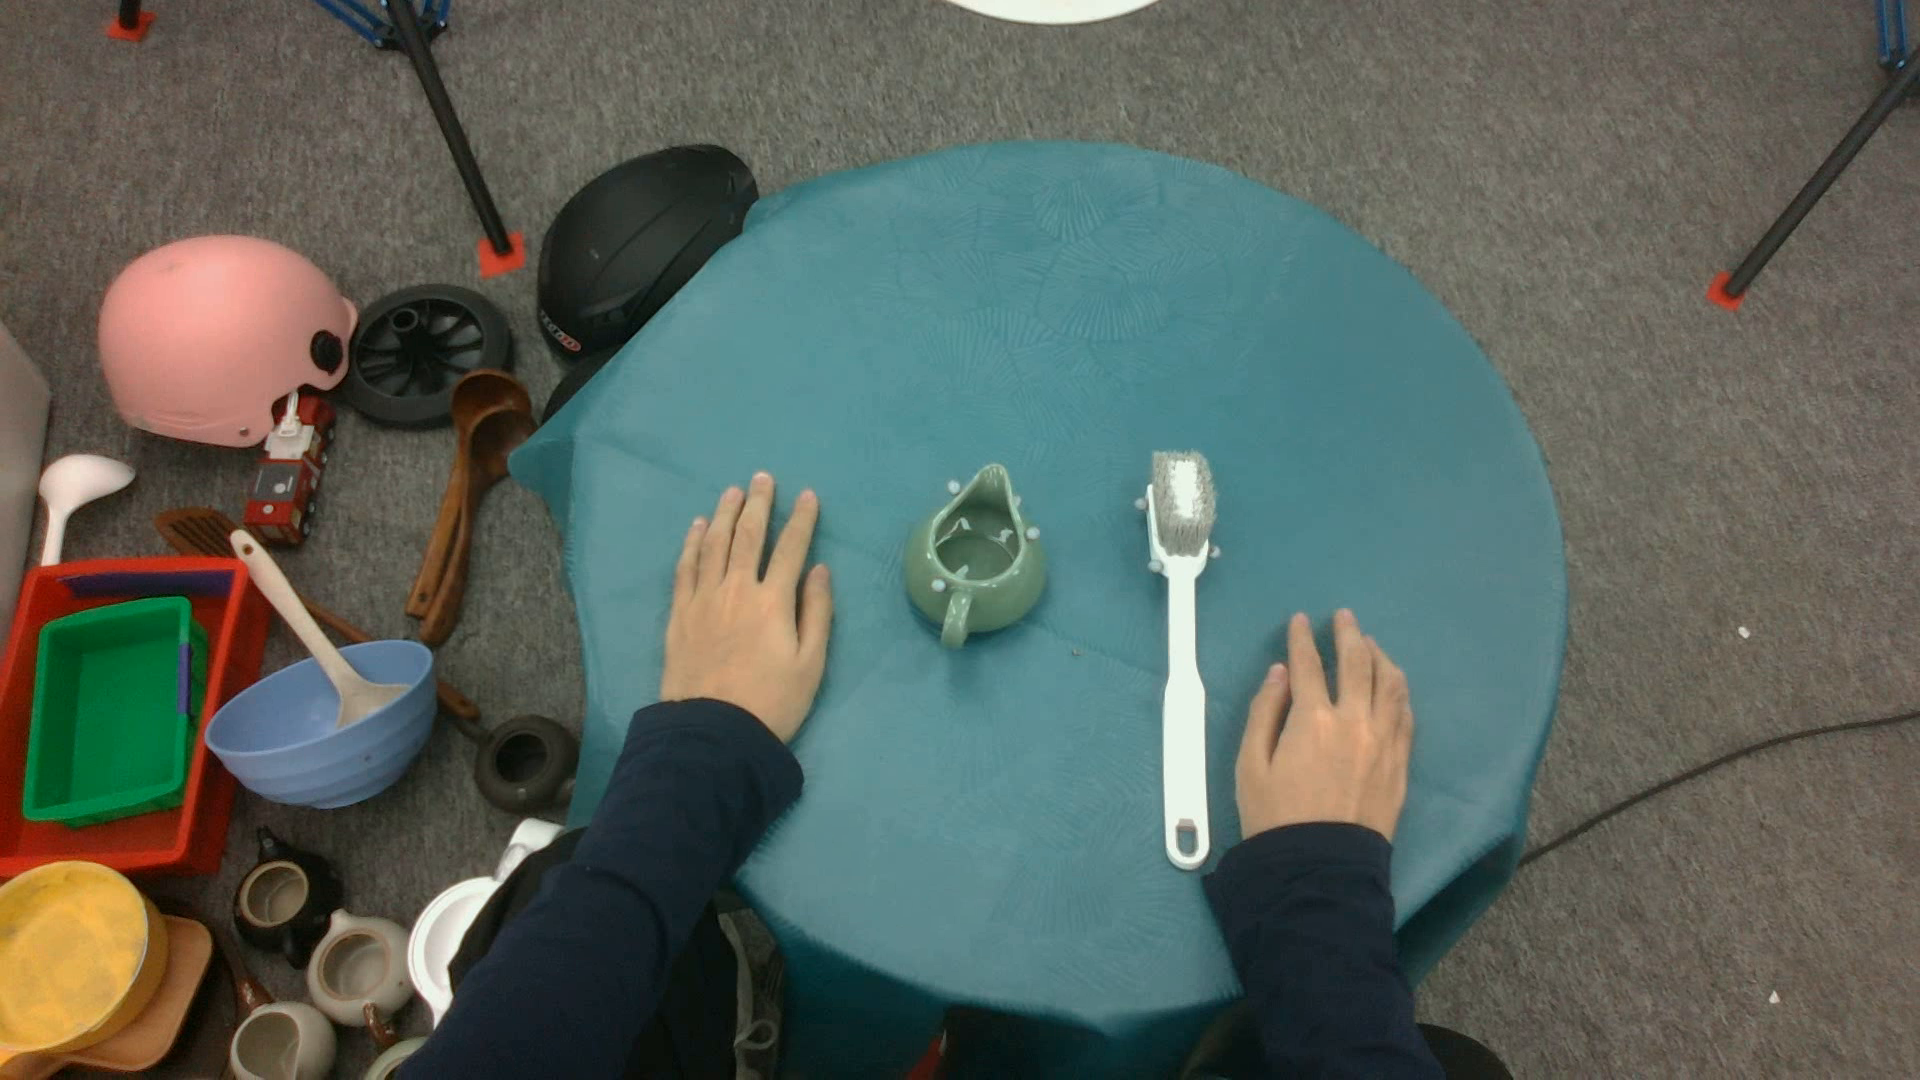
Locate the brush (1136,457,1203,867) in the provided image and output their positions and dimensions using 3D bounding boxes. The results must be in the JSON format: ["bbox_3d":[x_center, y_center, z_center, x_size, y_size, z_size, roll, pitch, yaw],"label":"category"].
[{"bbox_3d":[0.119,0.060,0.783,0.034,0.050,0.244,5,62,-1],"label":"brush"}]

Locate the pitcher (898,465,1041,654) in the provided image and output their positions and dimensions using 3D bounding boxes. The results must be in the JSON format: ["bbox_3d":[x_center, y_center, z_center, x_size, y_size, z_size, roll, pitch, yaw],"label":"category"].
[{"bbox_3d":[0.005,0.018,0.797,0.084,0.056,0.113,8,63,4],"label":"pitcher"}]
